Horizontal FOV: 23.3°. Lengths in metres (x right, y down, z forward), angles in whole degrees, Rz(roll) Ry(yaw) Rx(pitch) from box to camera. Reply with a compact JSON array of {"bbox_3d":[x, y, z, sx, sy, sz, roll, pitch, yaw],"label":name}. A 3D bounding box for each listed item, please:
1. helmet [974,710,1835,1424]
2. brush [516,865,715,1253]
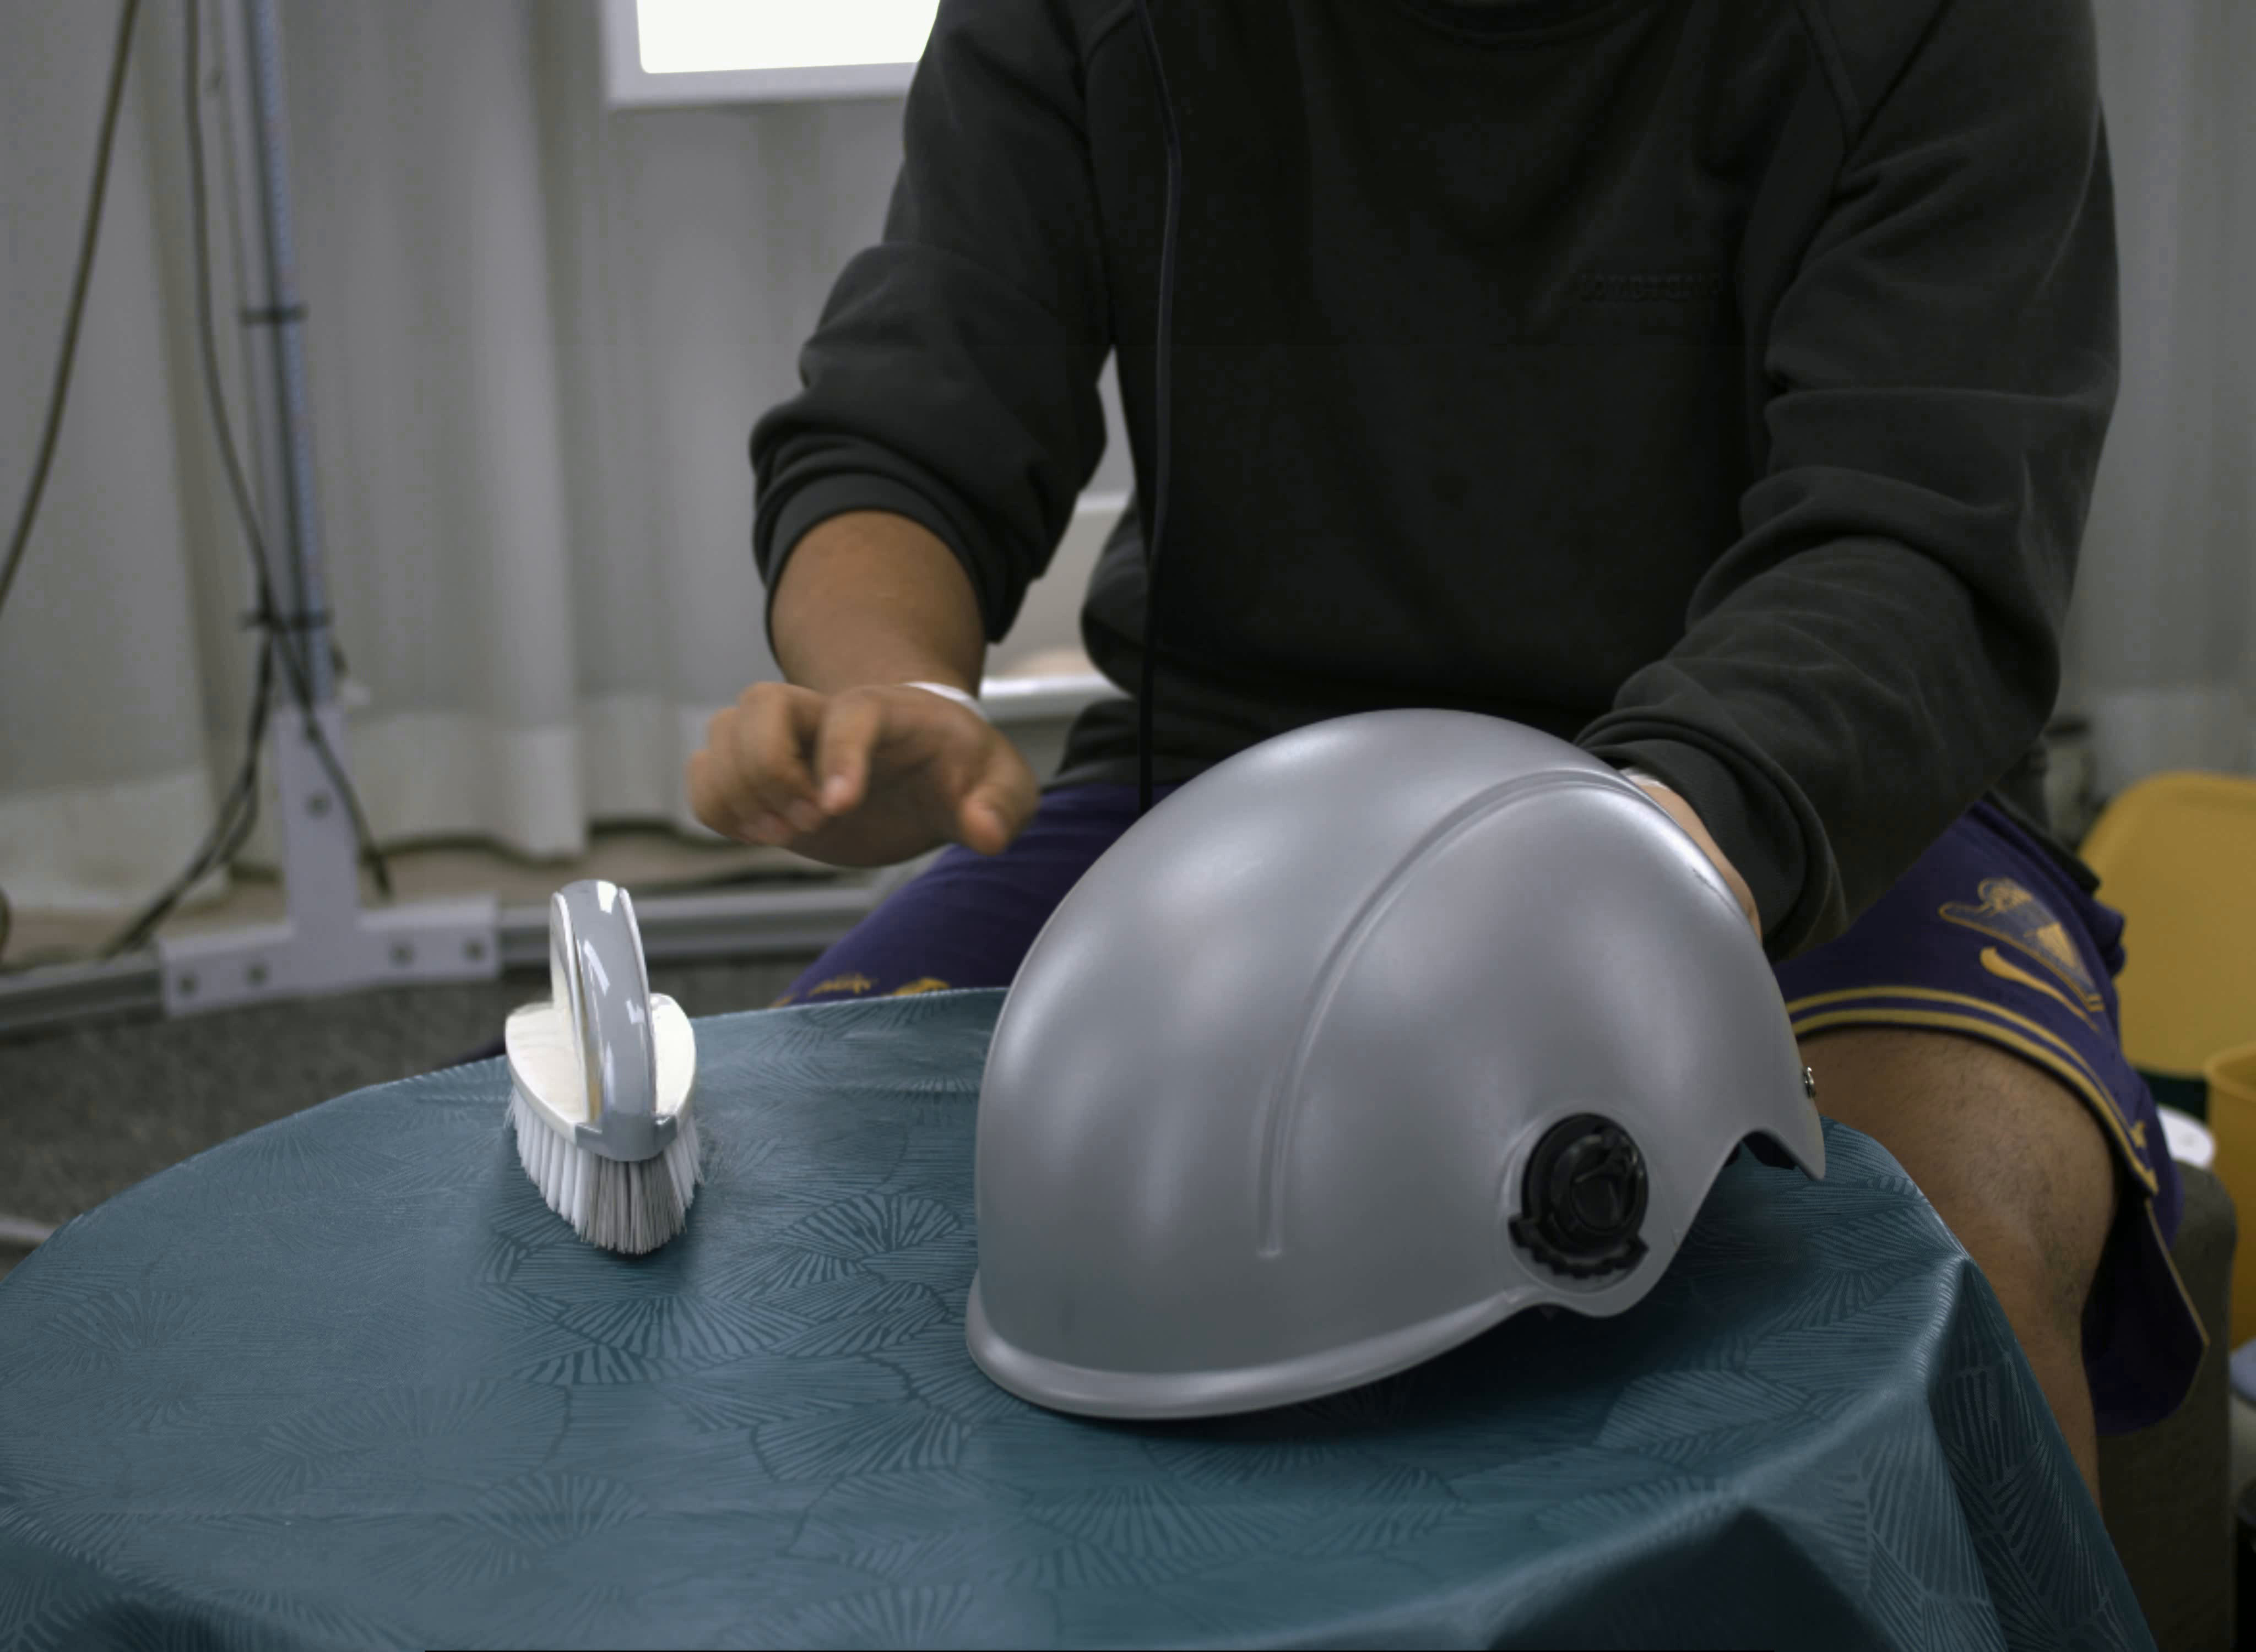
[{"bbox_3d":[0.069,0.056,1.602,0.233,0.168,0.276,1,15,45],"label":"helmet"},{"bbox_3d":[-0.163,0.069,1.746,0.061,0.094,0.177,-7,17,-8],"label":"brush"}]
